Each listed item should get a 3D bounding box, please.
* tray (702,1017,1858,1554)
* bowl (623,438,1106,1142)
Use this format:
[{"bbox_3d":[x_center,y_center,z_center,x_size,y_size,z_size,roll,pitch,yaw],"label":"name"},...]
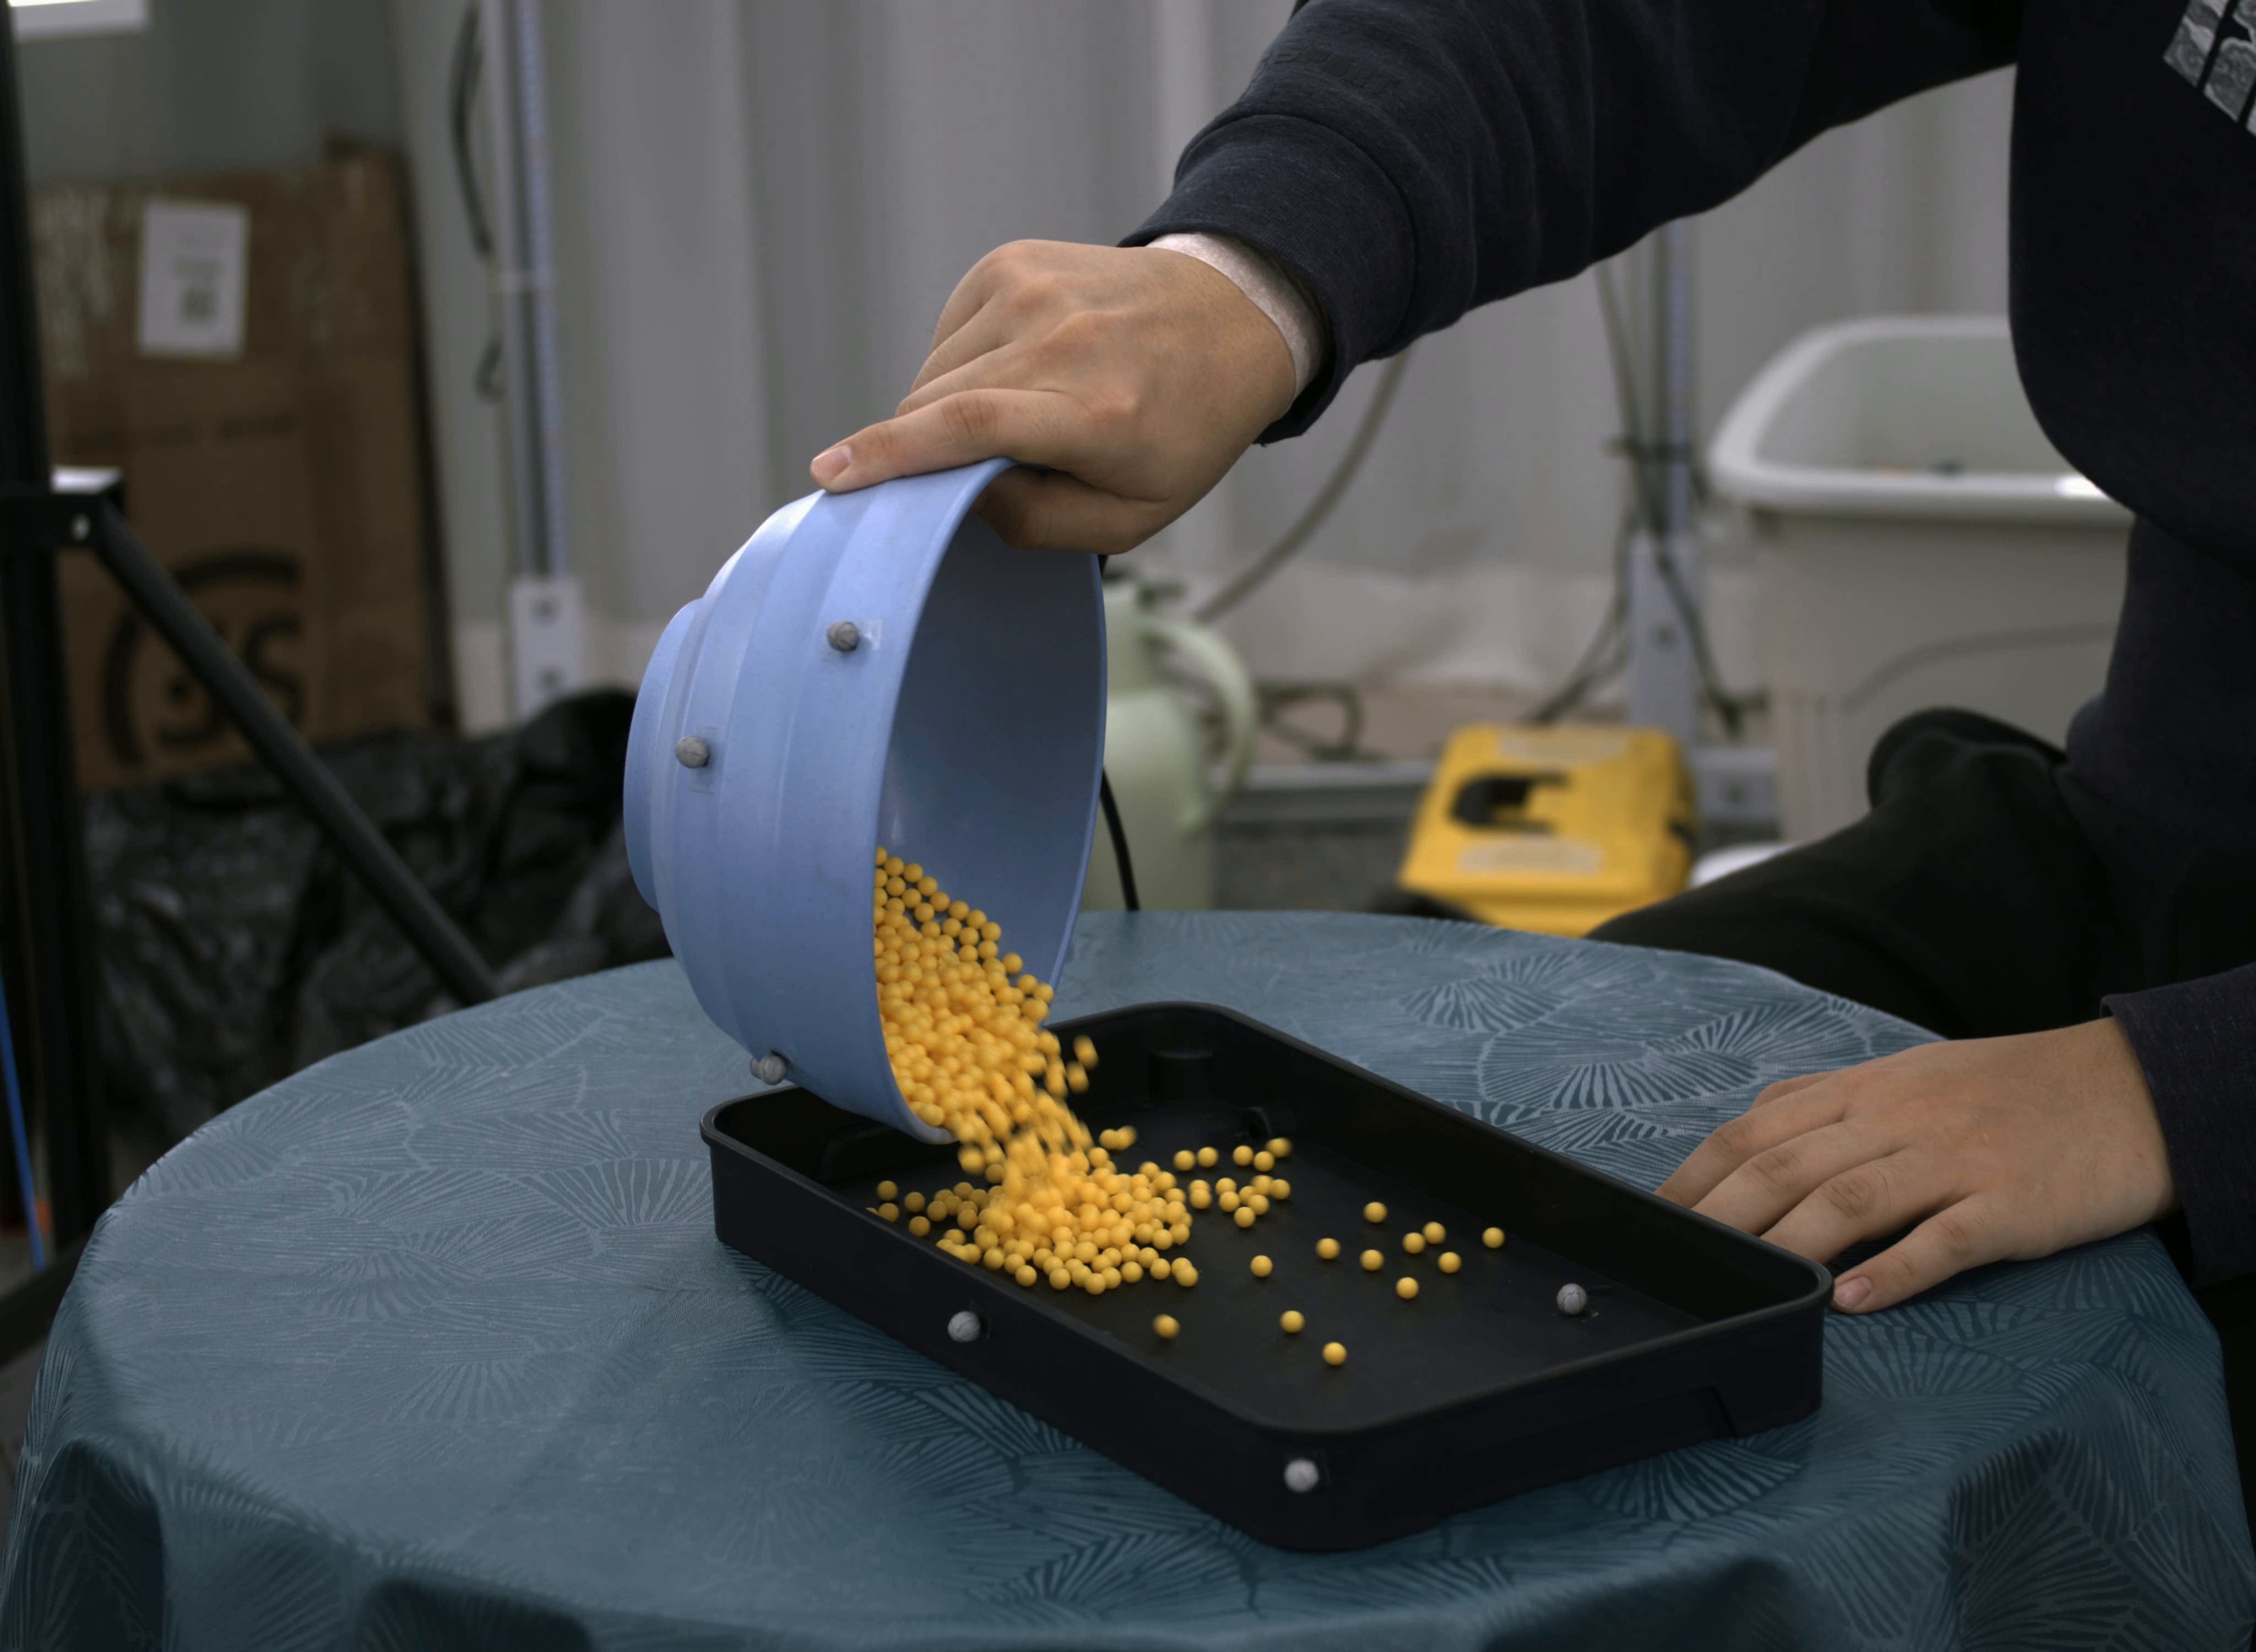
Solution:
[{"bbox_3d":[0.034,0.119,1.453,0.180,0.037,0.325,-12,17,-32],"label":"tray"},{"bbox_3d":[-0.081,-0.015,1.501,0.096,0.196,0.194,7,18,19],"label":"bowl"}]
